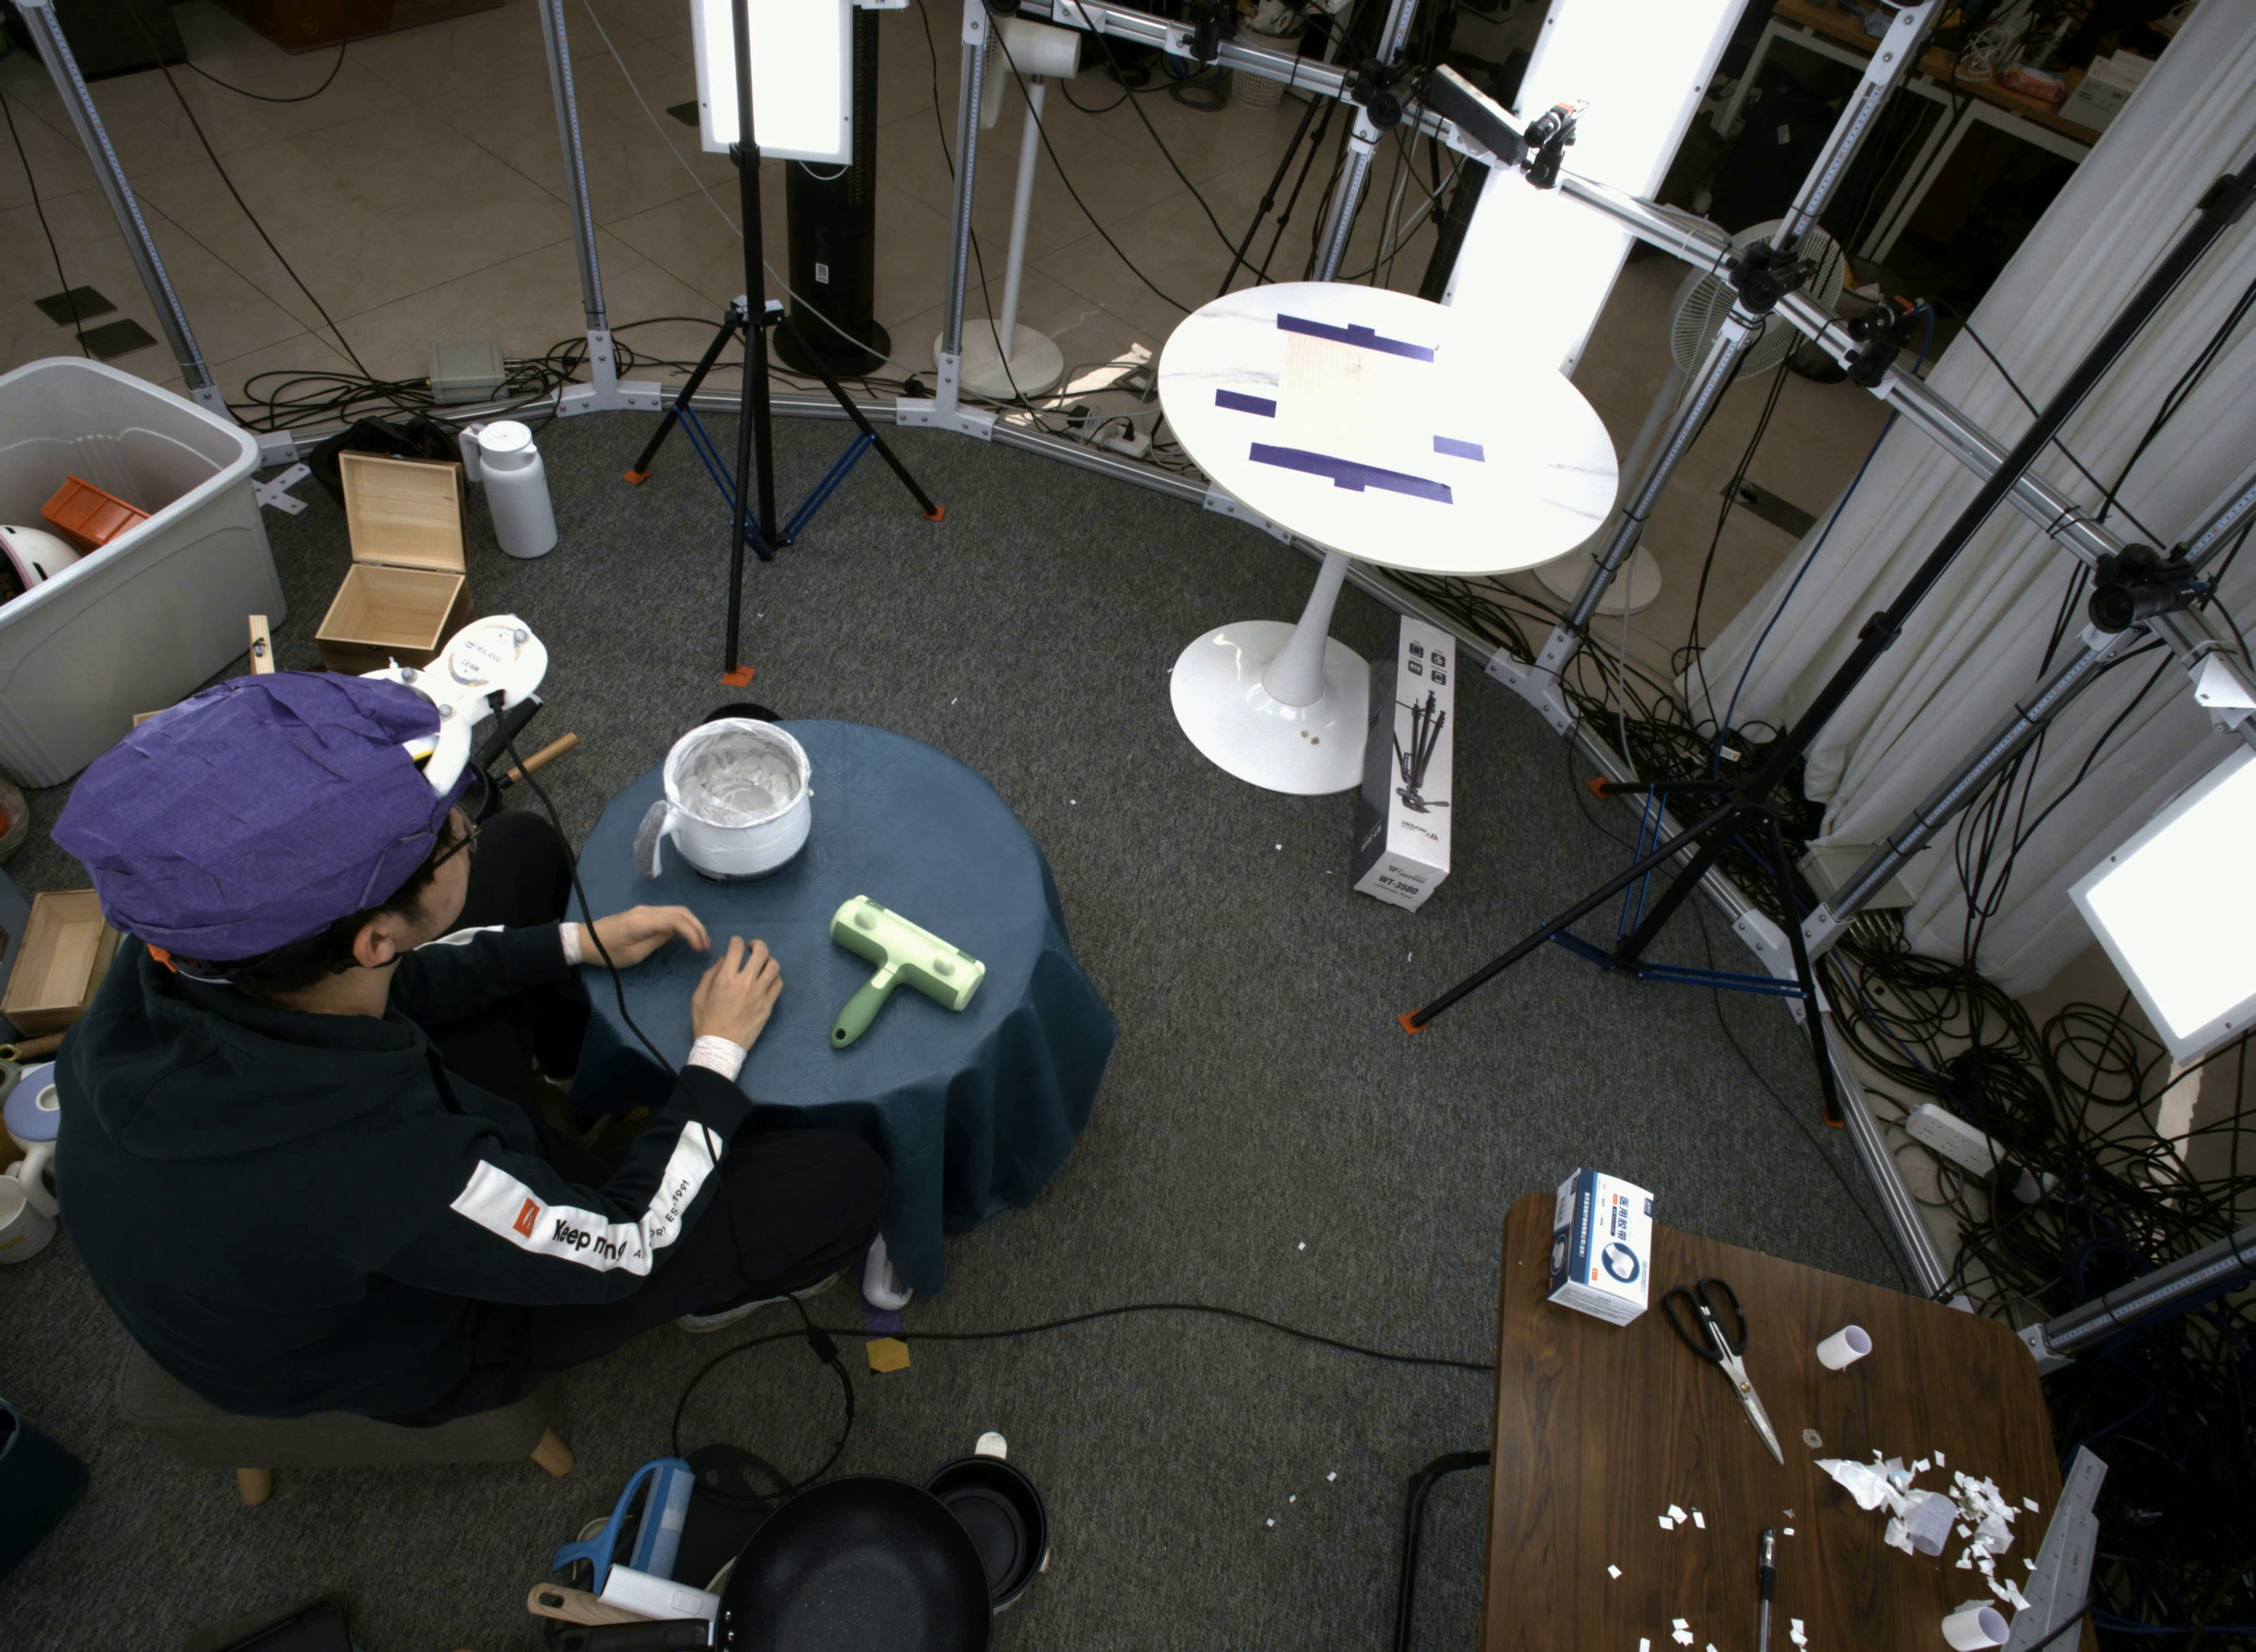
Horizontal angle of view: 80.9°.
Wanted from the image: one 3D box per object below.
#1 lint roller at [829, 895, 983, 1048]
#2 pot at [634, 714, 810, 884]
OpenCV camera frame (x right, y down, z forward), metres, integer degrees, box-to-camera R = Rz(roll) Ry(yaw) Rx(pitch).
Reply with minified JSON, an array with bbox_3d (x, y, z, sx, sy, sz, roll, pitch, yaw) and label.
[{"bbox_3d":[-0.302,0.184,1.578,0.195,0.084,0.182,29,47,8],"label":"lint roller"},{"bbox_3d":[-0.516,-0.021,1.631,0.234,0.139,0.174,-31,65,-32],"label":"pot"}]
